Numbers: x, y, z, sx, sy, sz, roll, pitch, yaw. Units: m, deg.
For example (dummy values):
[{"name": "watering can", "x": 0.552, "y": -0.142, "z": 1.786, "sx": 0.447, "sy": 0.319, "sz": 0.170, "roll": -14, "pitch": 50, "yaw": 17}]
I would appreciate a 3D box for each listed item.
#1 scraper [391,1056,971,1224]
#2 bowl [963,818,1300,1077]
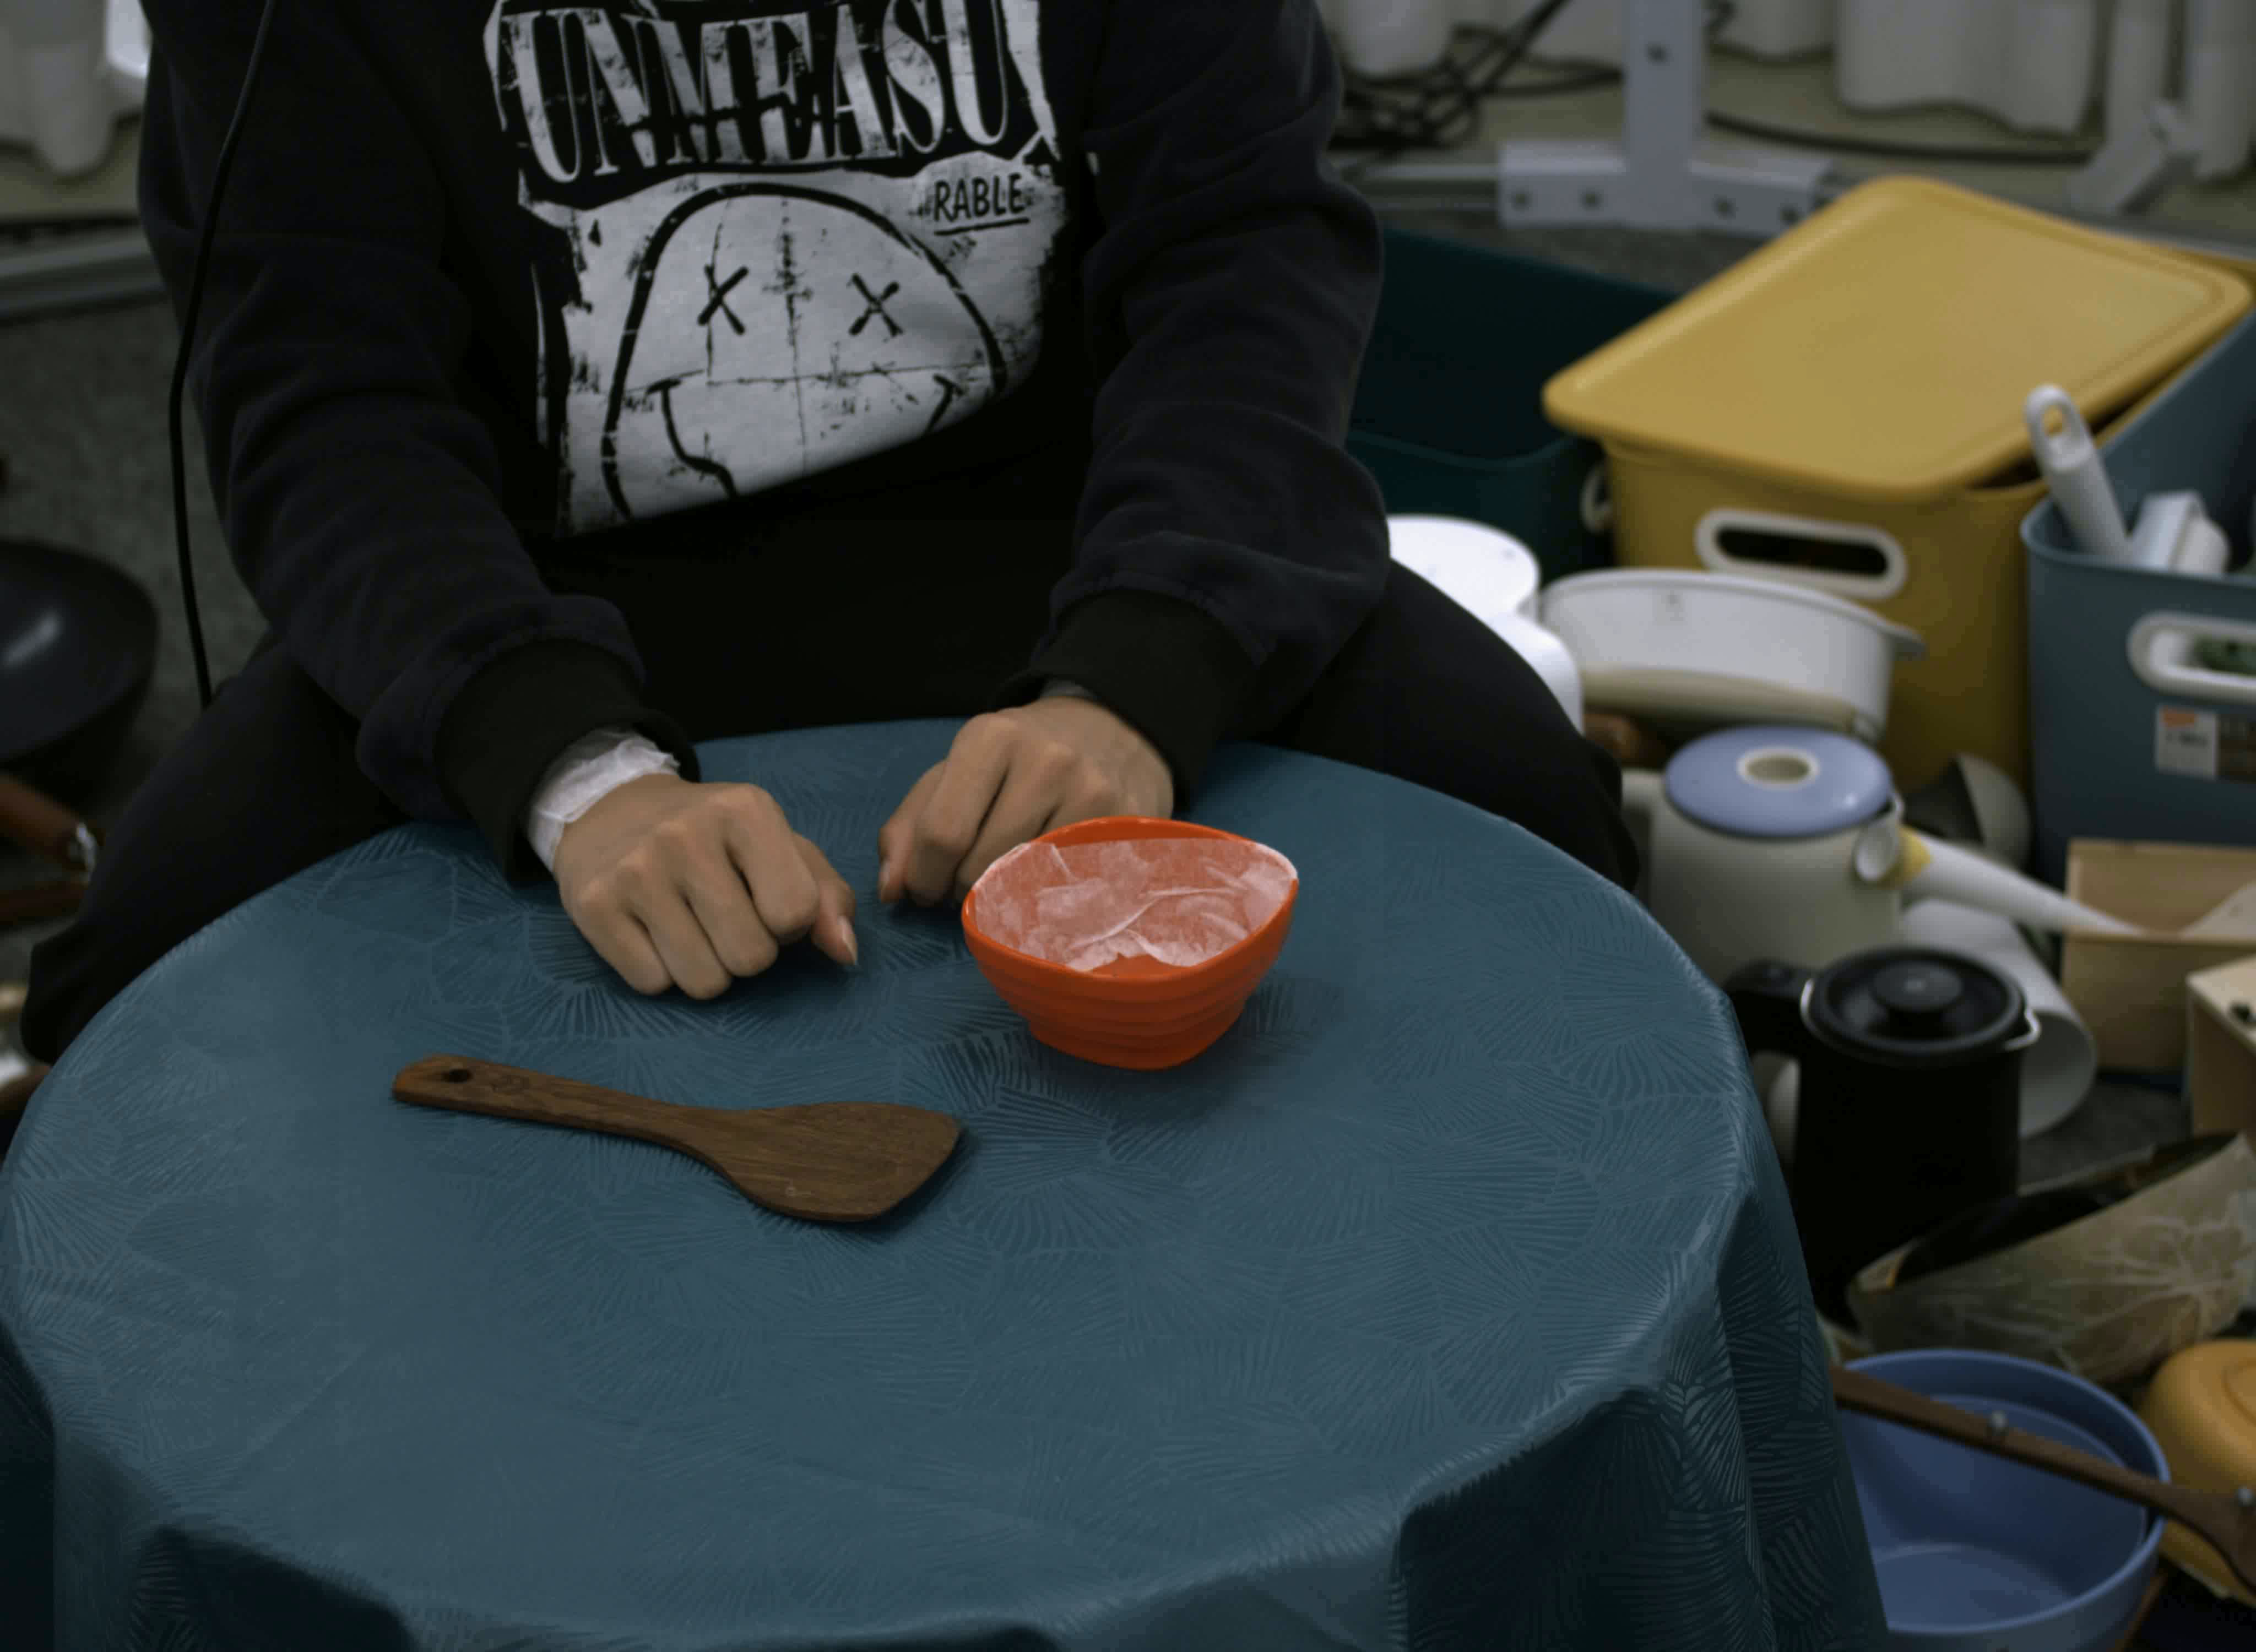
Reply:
[{"name": "scraper", "x": -0.156, "y": 0.102, "z": 1.906, "sx": 0.210, "sy": 0.011, "sz": 0.077, "roll": 9, "pitch": 29, "yaw": 23}, {"name": "bowl", "x": 0.003, "y": 0.046, "z": 1.954, "sx": 0.118, "sy": 0.051, "sz": 0.121, "roll": -3, "pitch": 29, "yaw": 2}]
